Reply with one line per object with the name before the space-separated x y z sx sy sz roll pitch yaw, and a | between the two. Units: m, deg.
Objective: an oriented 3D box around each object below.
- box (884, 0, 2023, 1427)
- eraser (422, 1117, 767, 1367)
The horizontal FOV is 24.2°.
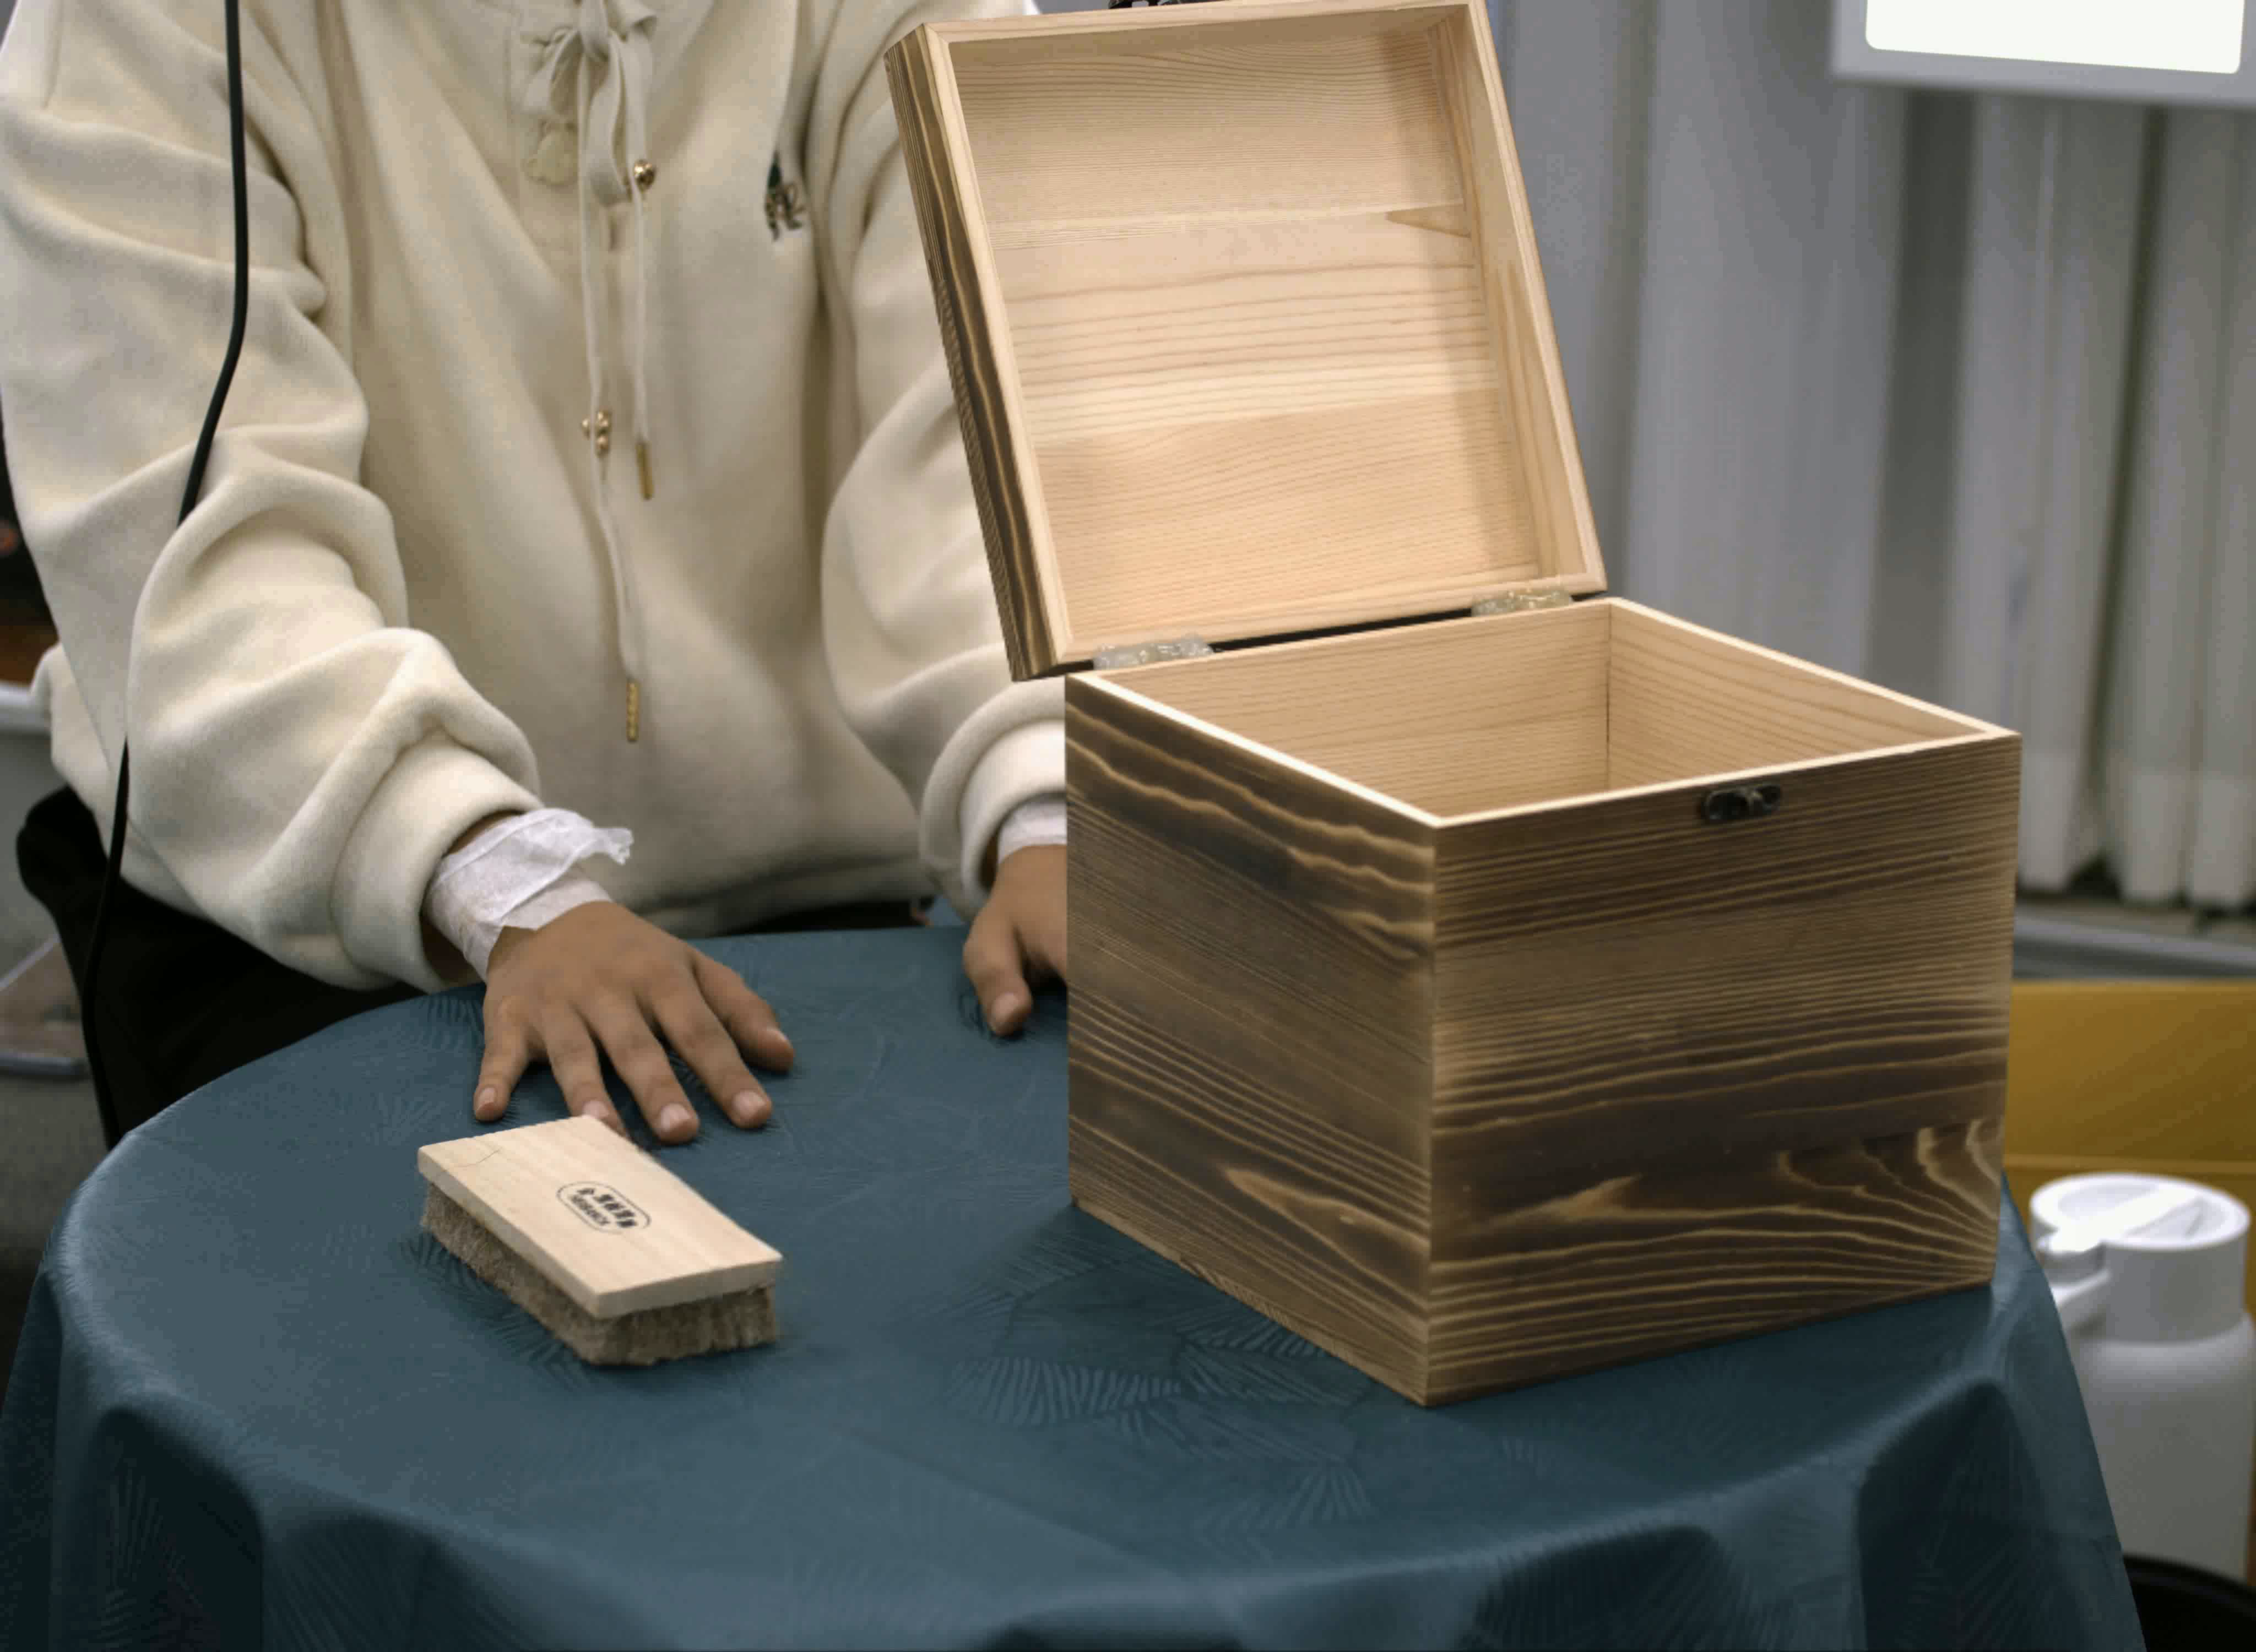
box | 0.090 -0.061 1.567 0.209 0.378 0.318 -10 19 -30
eraser | -0.156 0.121 1.530 0.057 0.029 0.137 -10 18 -25
